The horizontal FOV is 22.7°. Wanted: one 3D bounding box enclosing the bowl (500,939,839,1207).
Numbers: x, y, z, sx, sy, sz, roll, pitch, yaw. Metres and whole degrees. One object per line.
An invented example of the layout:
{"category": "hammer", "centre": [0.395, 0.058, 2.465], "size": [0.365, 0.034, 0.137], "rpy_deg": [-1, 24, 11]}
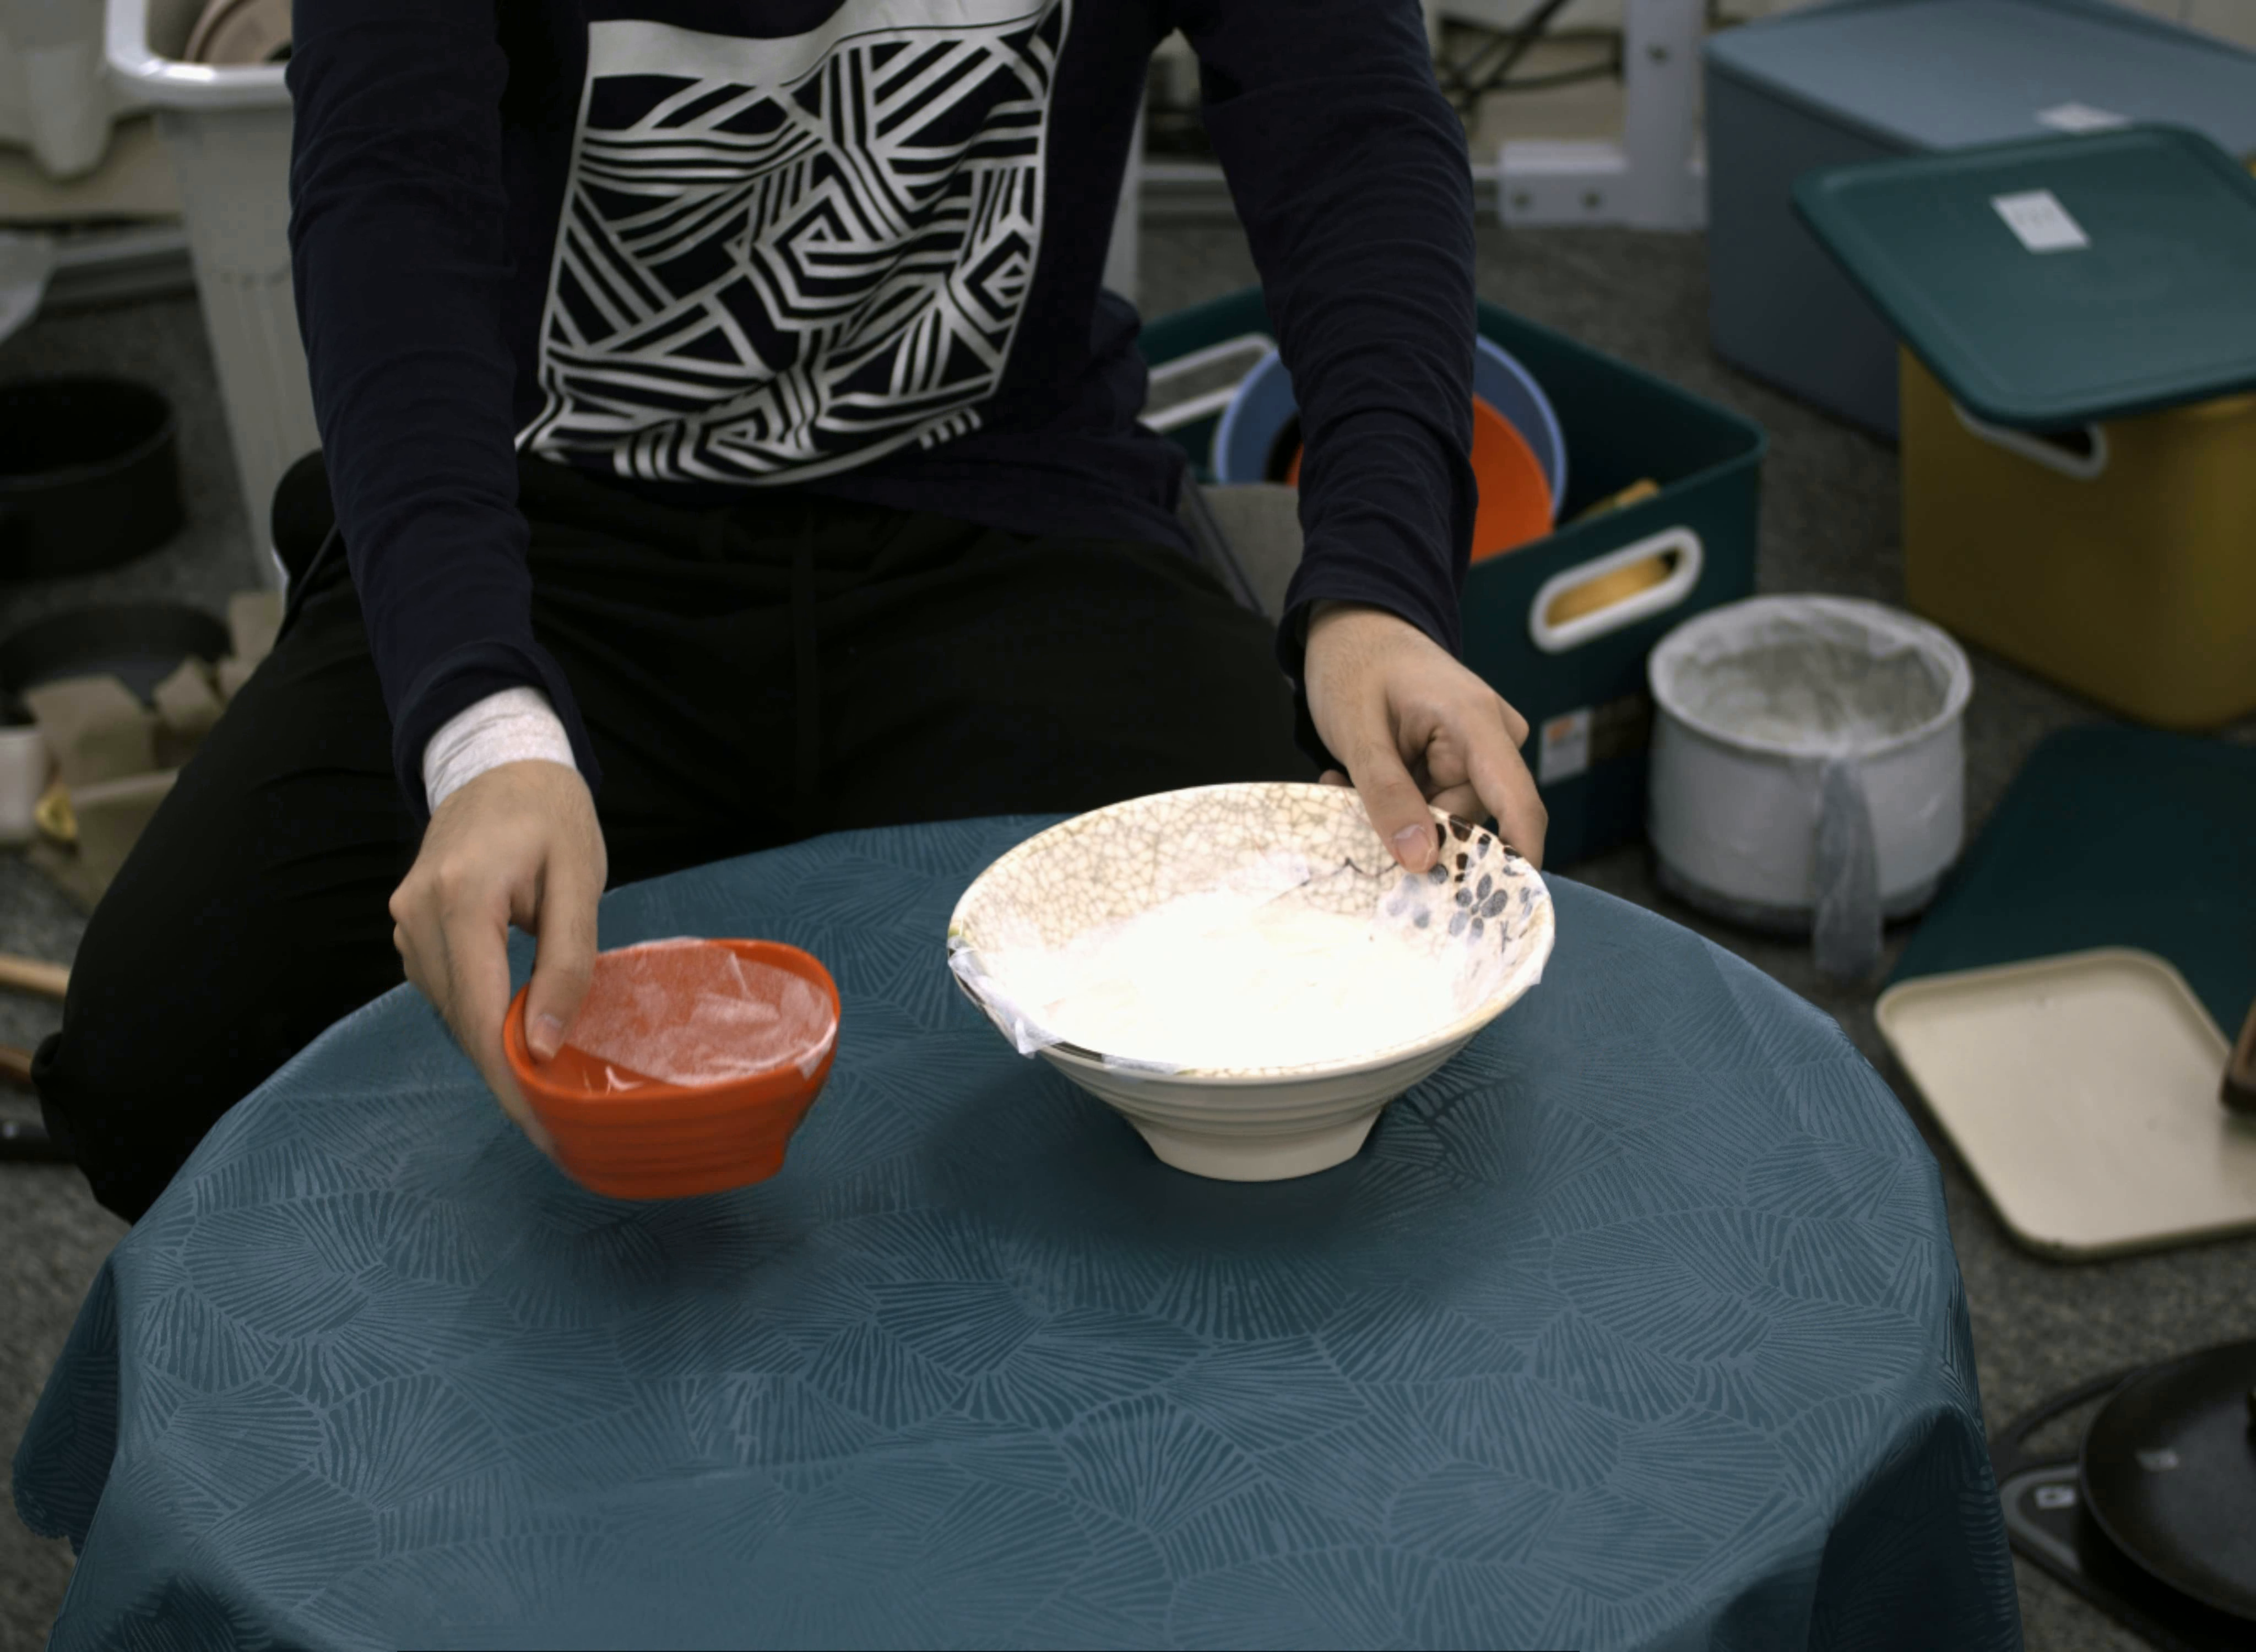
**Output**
{"category": "bowl", "centre": [-0.147, 0.085, 1.831], "size": [0.118, 0.051, 0.120], "rpy_deg": [-4, 25, 2]}

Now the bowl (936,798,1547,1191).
{"category": "bowl", "centre": [0.038, 0.068, 1.882], "size": [0.203, 0.077, 0.207], "rpy_deg": [0, 24, 1]}
